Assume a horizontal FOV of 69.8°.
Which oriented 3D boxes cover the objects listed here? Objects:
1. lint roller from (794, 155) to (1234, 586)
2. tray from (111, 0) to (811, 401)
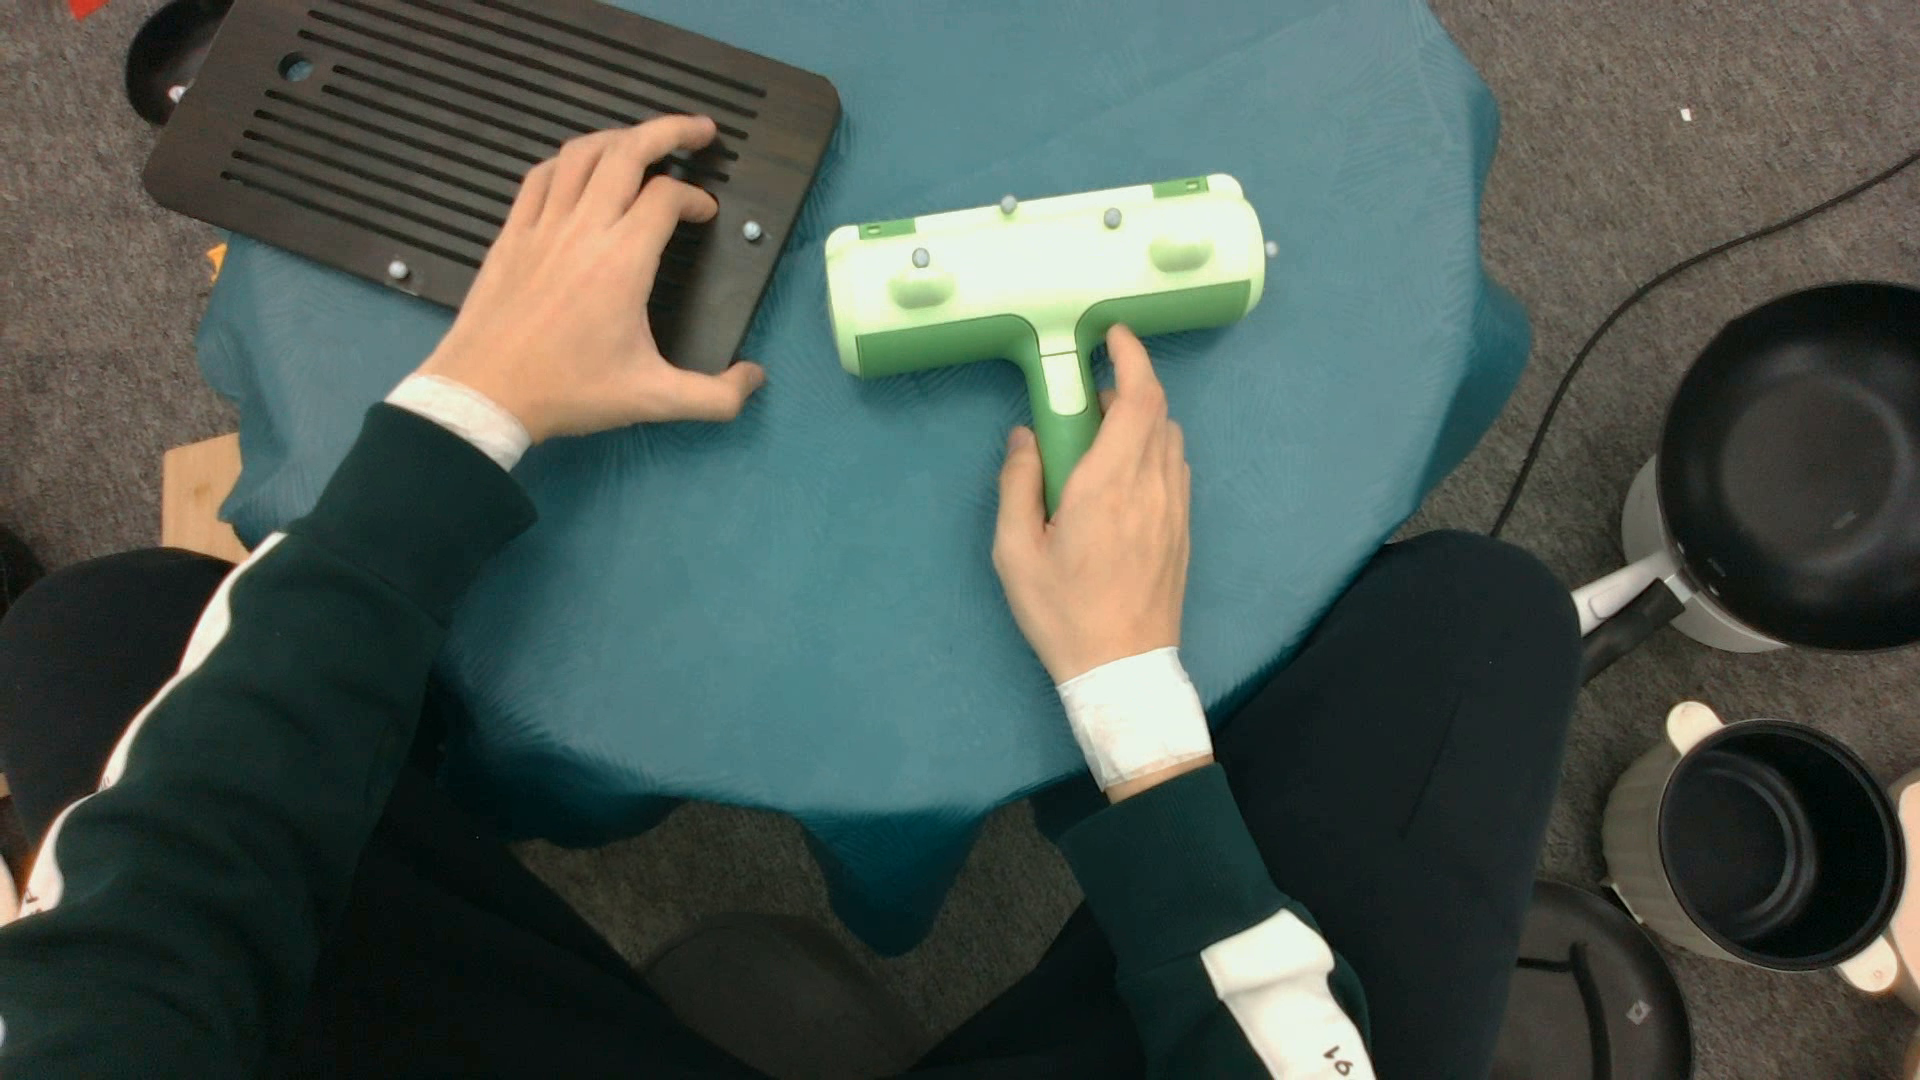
[{"bbox_3d":[0.039,-0.075,0.607,0.199,0.082,0.183,-12,74,-7],"label":"lint roller"},{"bbox_3d":[-0.239,-0.185,0.665,0.306,0.018,0.170,19,79,6],"label":"tray"}]
